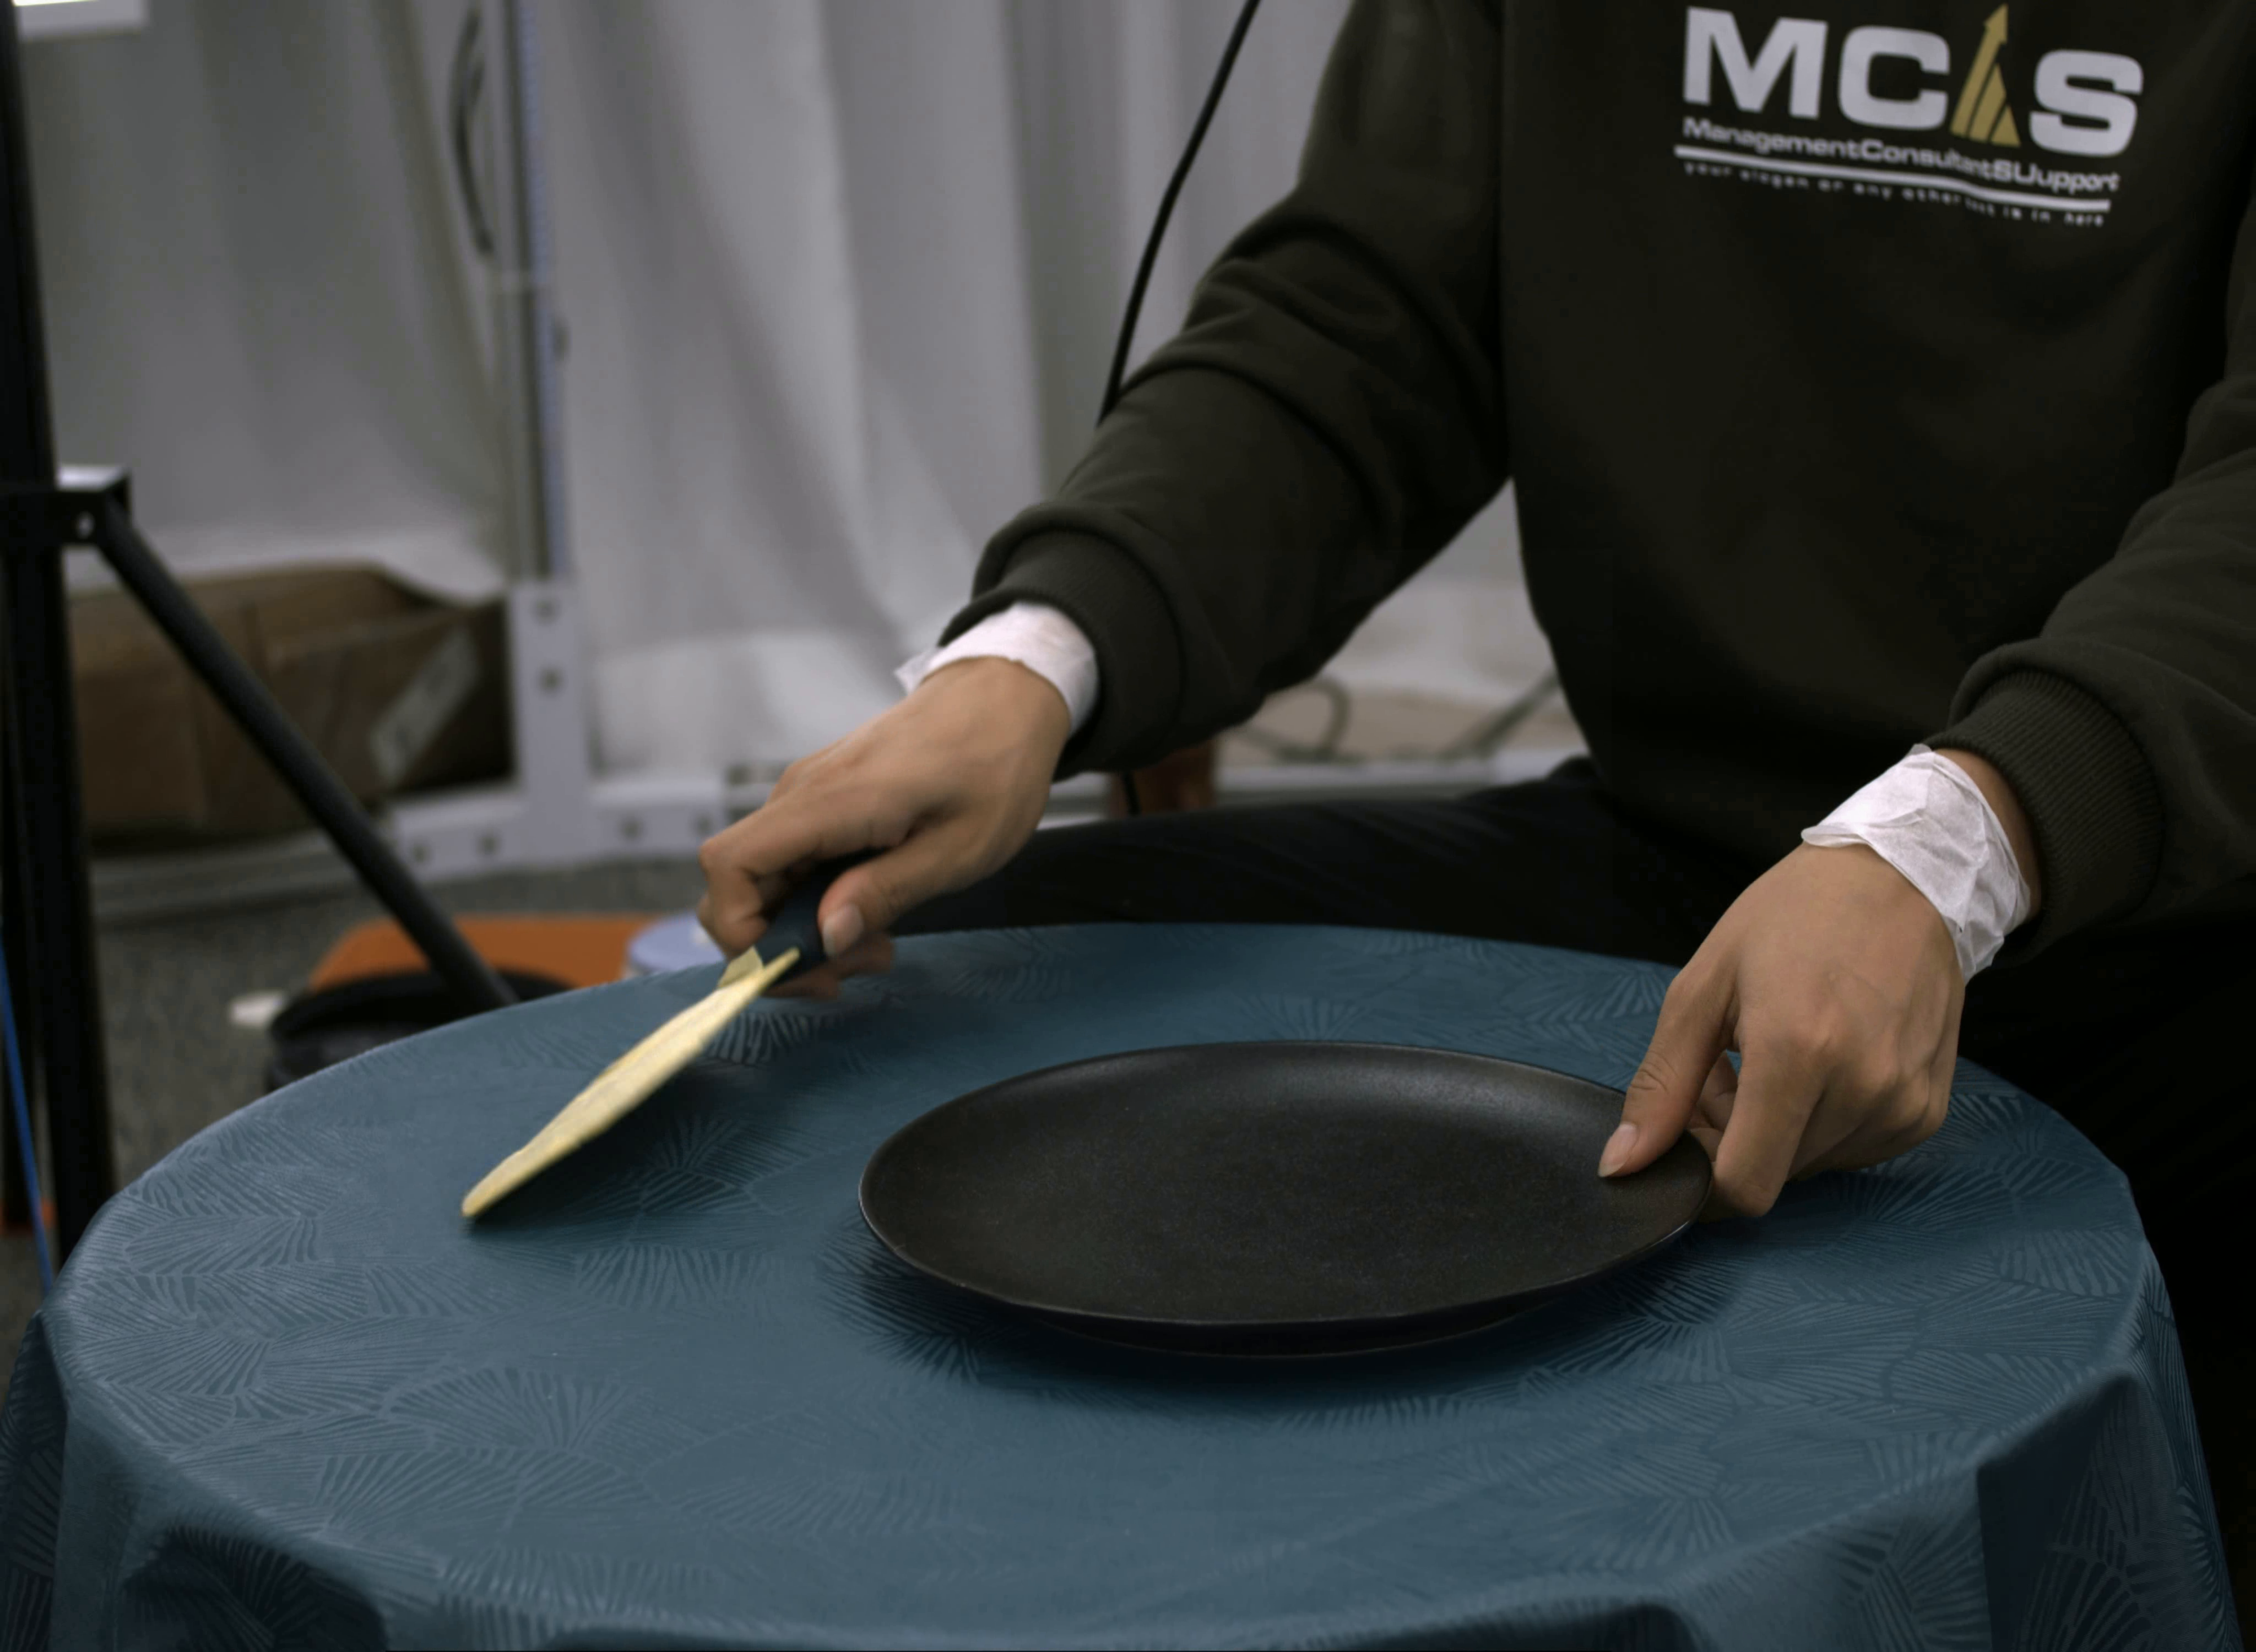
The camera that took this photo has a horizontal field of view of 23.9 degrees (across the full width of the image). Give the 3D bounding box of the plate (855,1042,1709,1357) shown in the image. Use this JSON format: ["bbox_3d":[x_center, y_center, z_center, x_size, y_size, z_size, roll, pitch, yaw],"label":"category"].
[{"bbox_3d":[0.044,0.108,1.511,0.243,0.023,0.245,-3,16,-1],"label":"plate"}]

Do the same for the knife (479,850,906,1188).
[{"bbox_3d":[-0.133,0.061,1.678,0.082,0.027,0.286,-24,8,24],"label":"knife"}]
